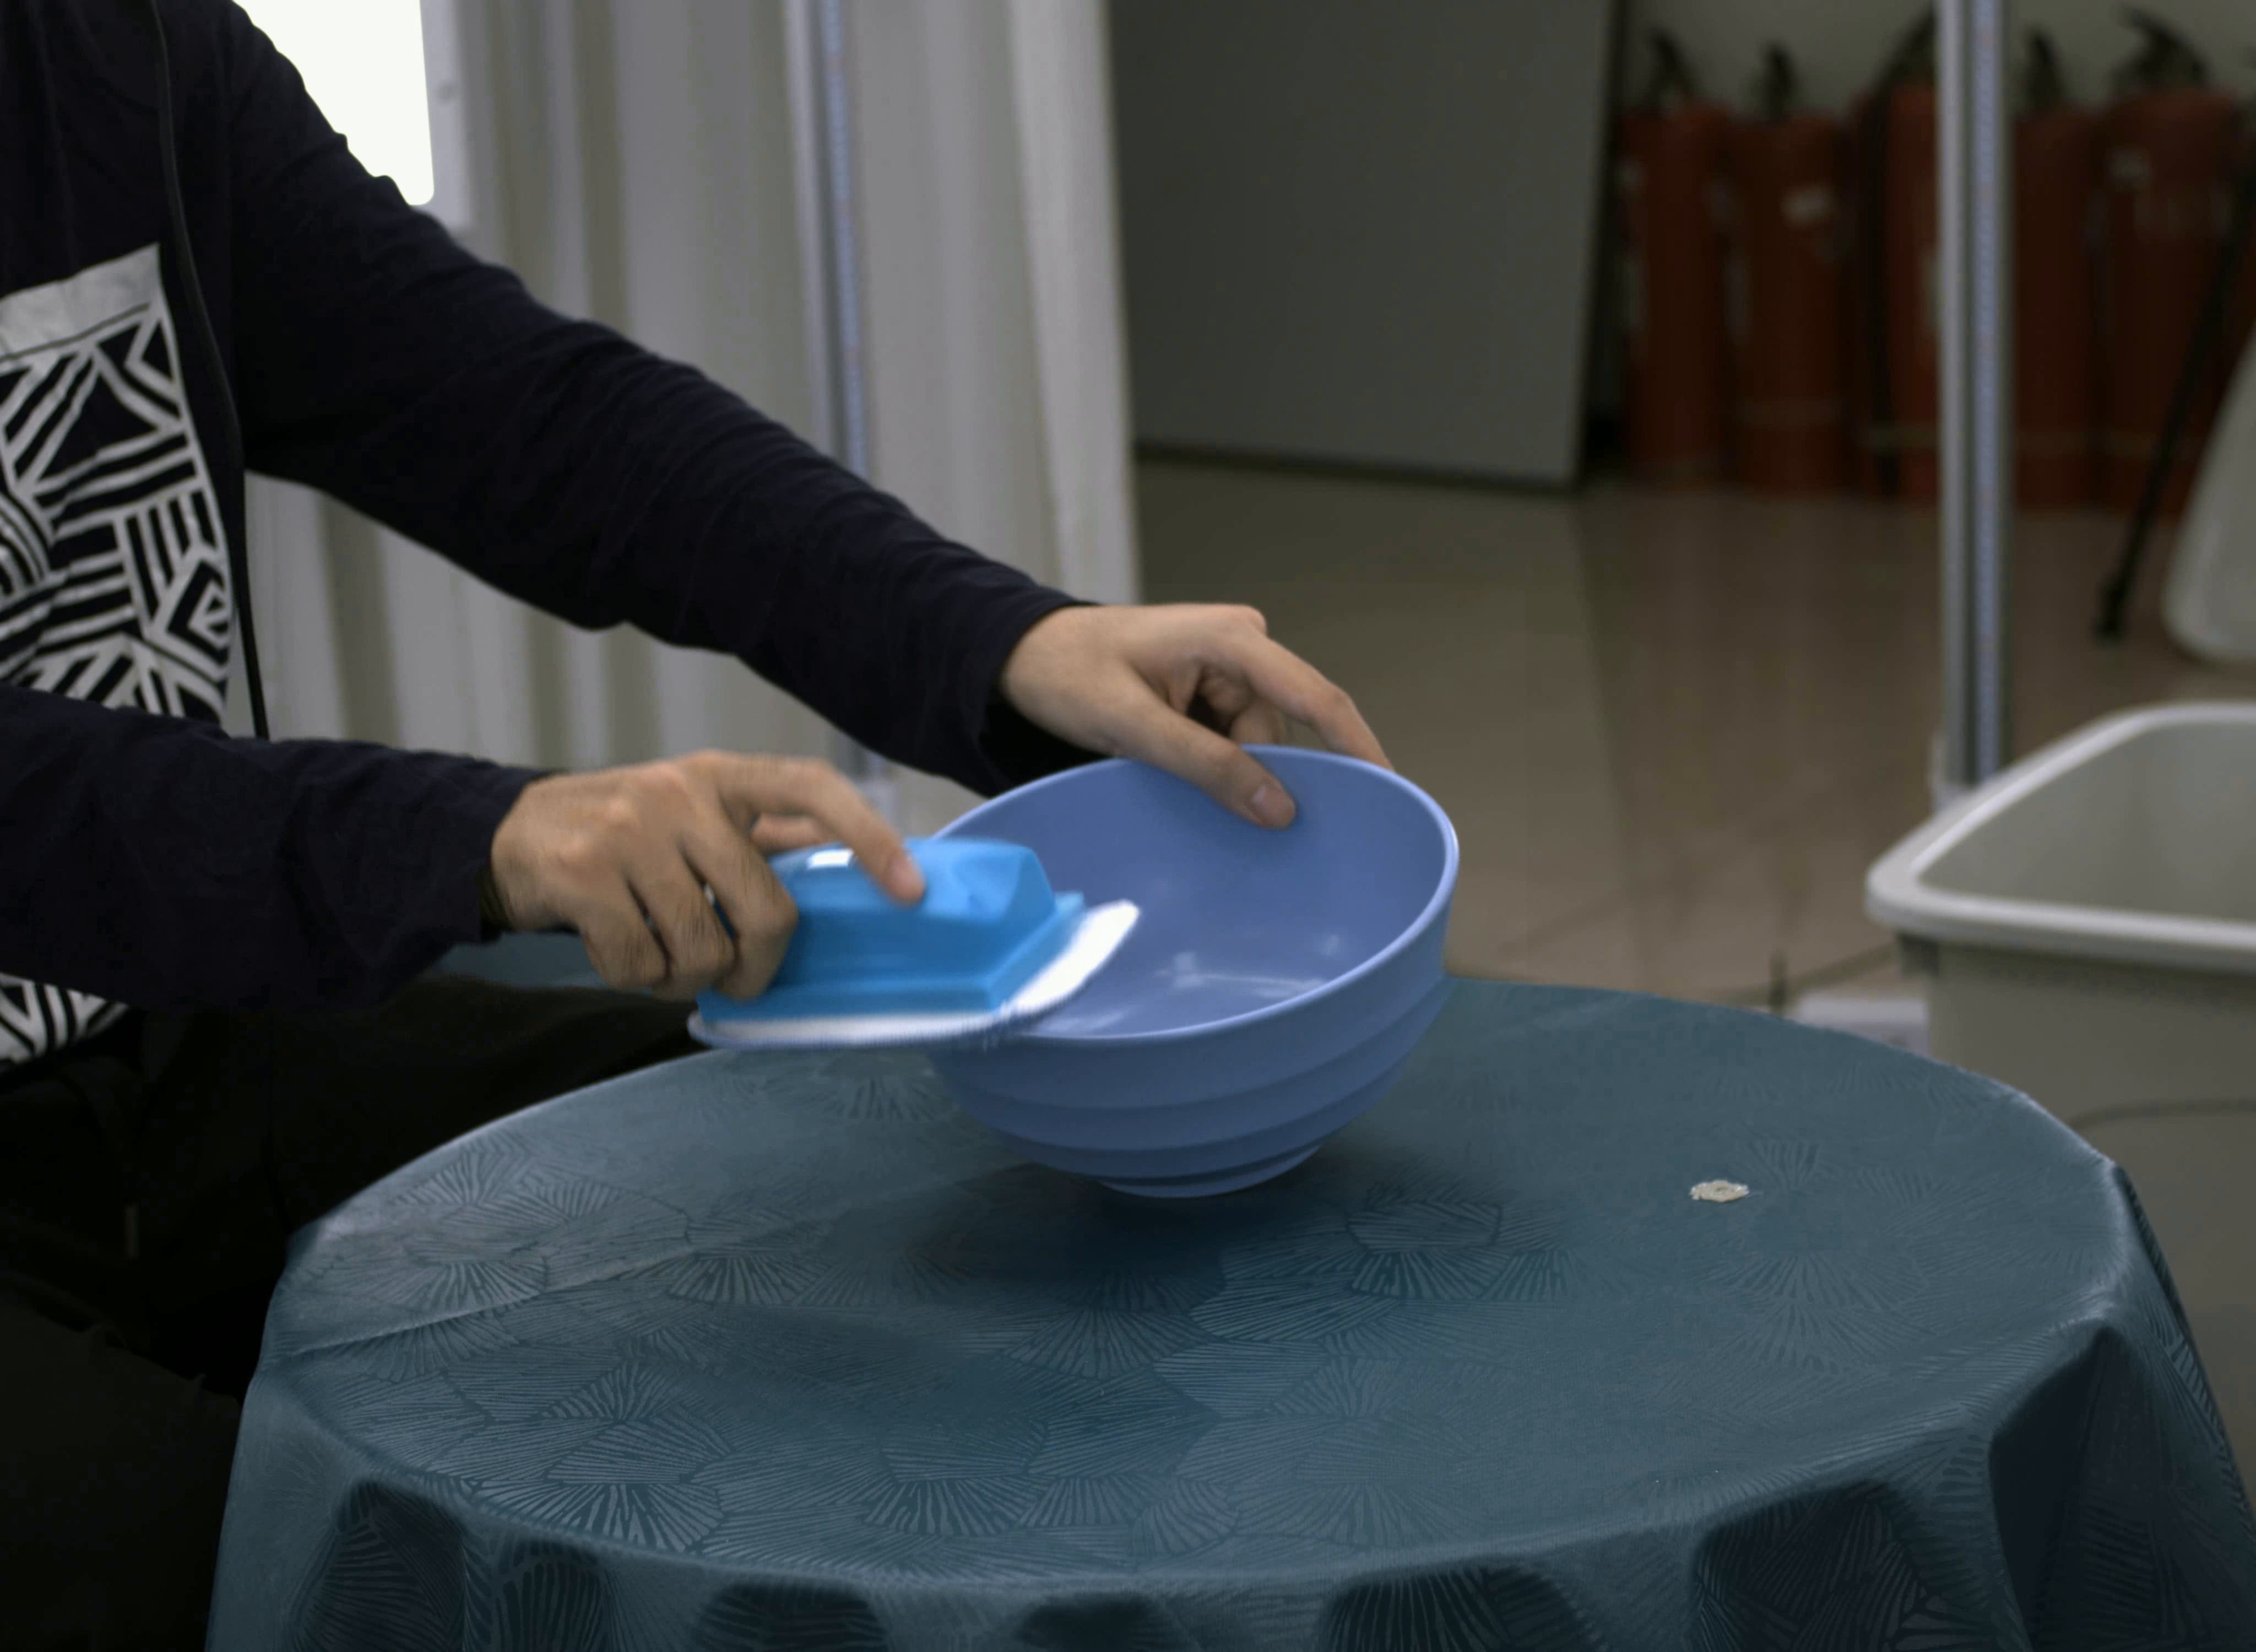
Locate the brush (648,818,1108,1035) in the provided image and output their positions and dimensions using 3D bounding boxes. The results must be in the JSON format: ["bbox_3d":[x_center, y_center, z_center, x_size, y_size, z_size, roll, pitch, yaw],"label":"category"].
[{"bbox_3d":[-0.080,0.029,1.648,0.145,0.056,0.082,2,27,41],"label":"brush"}]

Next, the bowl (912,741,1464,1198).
[{"bbox_3d":[0.019,0.059,1.781,0.194,0.096,0.197,-8,27,3],"label":"bowl"}]
